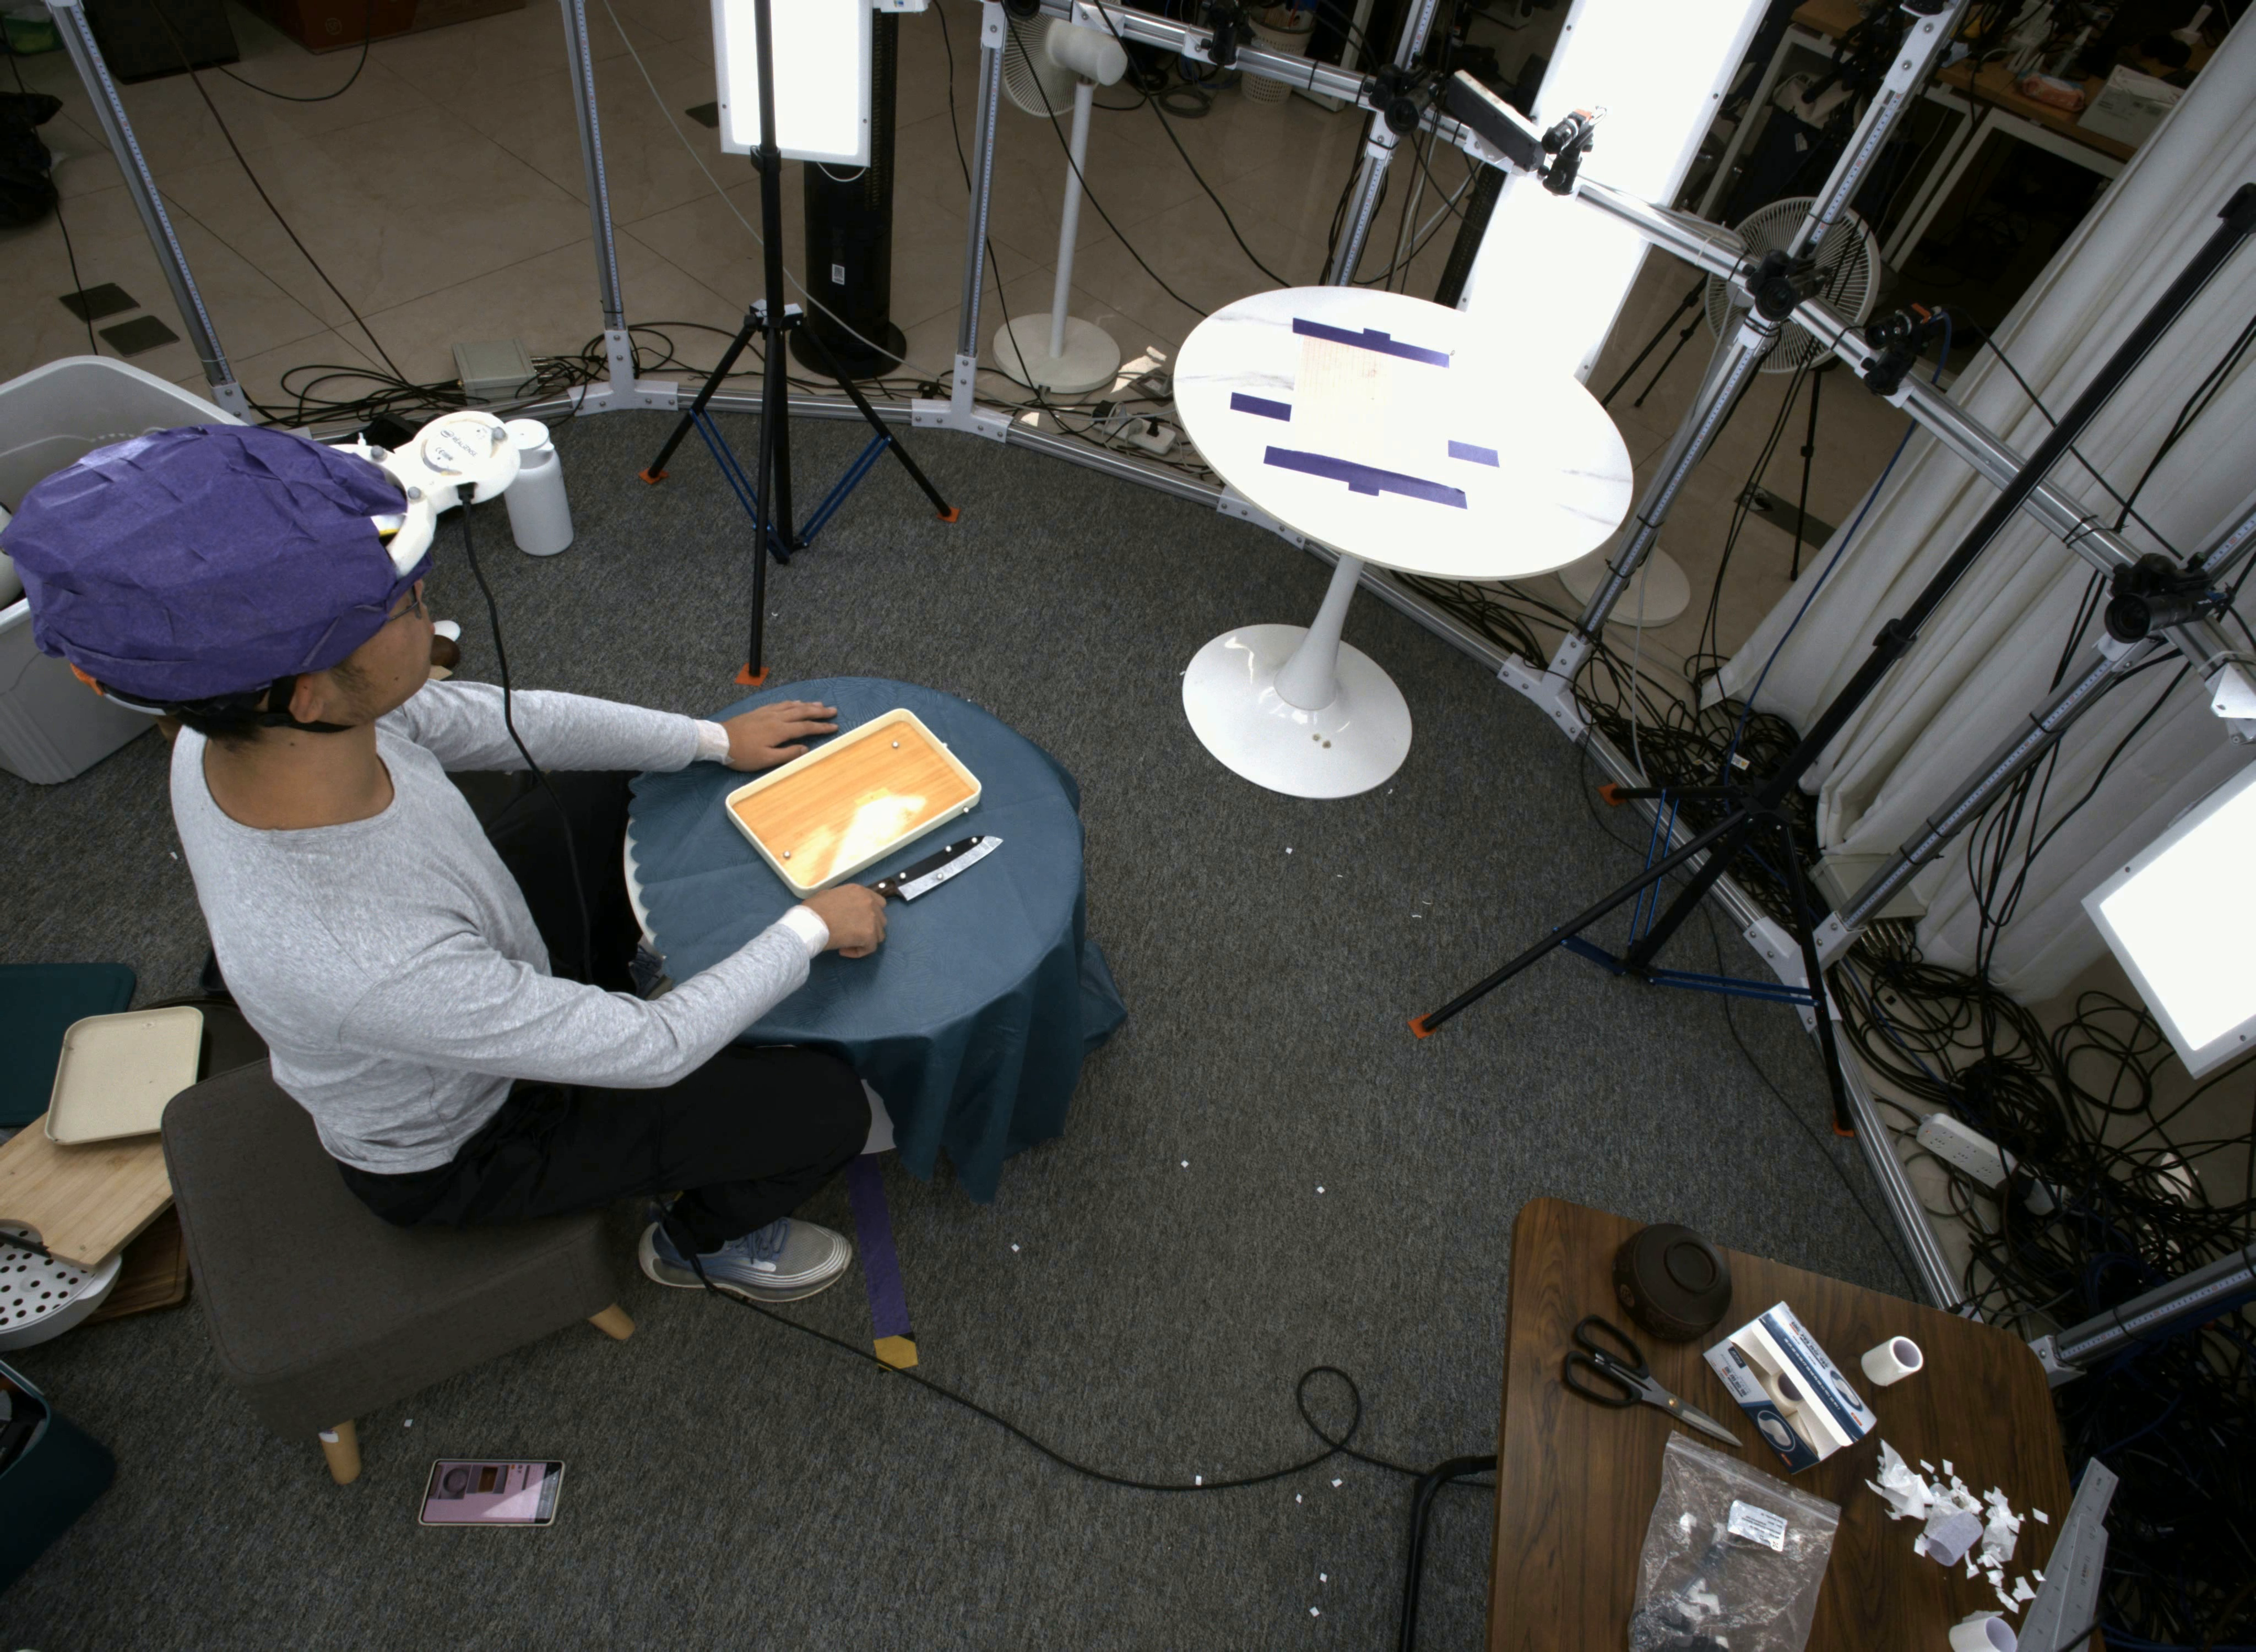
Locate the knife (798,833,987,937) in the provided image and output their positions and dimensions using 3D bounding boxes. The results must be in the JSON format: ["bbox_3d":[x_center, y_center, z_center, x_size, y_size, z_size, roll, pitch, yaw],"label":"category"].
[{"bbox_3d":[-0.302,0.072,1.704,0.290,0.020,0.049,-28,67,-33],"label":"knife"}]

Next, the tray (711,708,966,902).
[{"bbox_3d":[-0.387,-0.035,1.754,0.301,0.028,0.187,-34,68,-32],"label":"tray"}]
